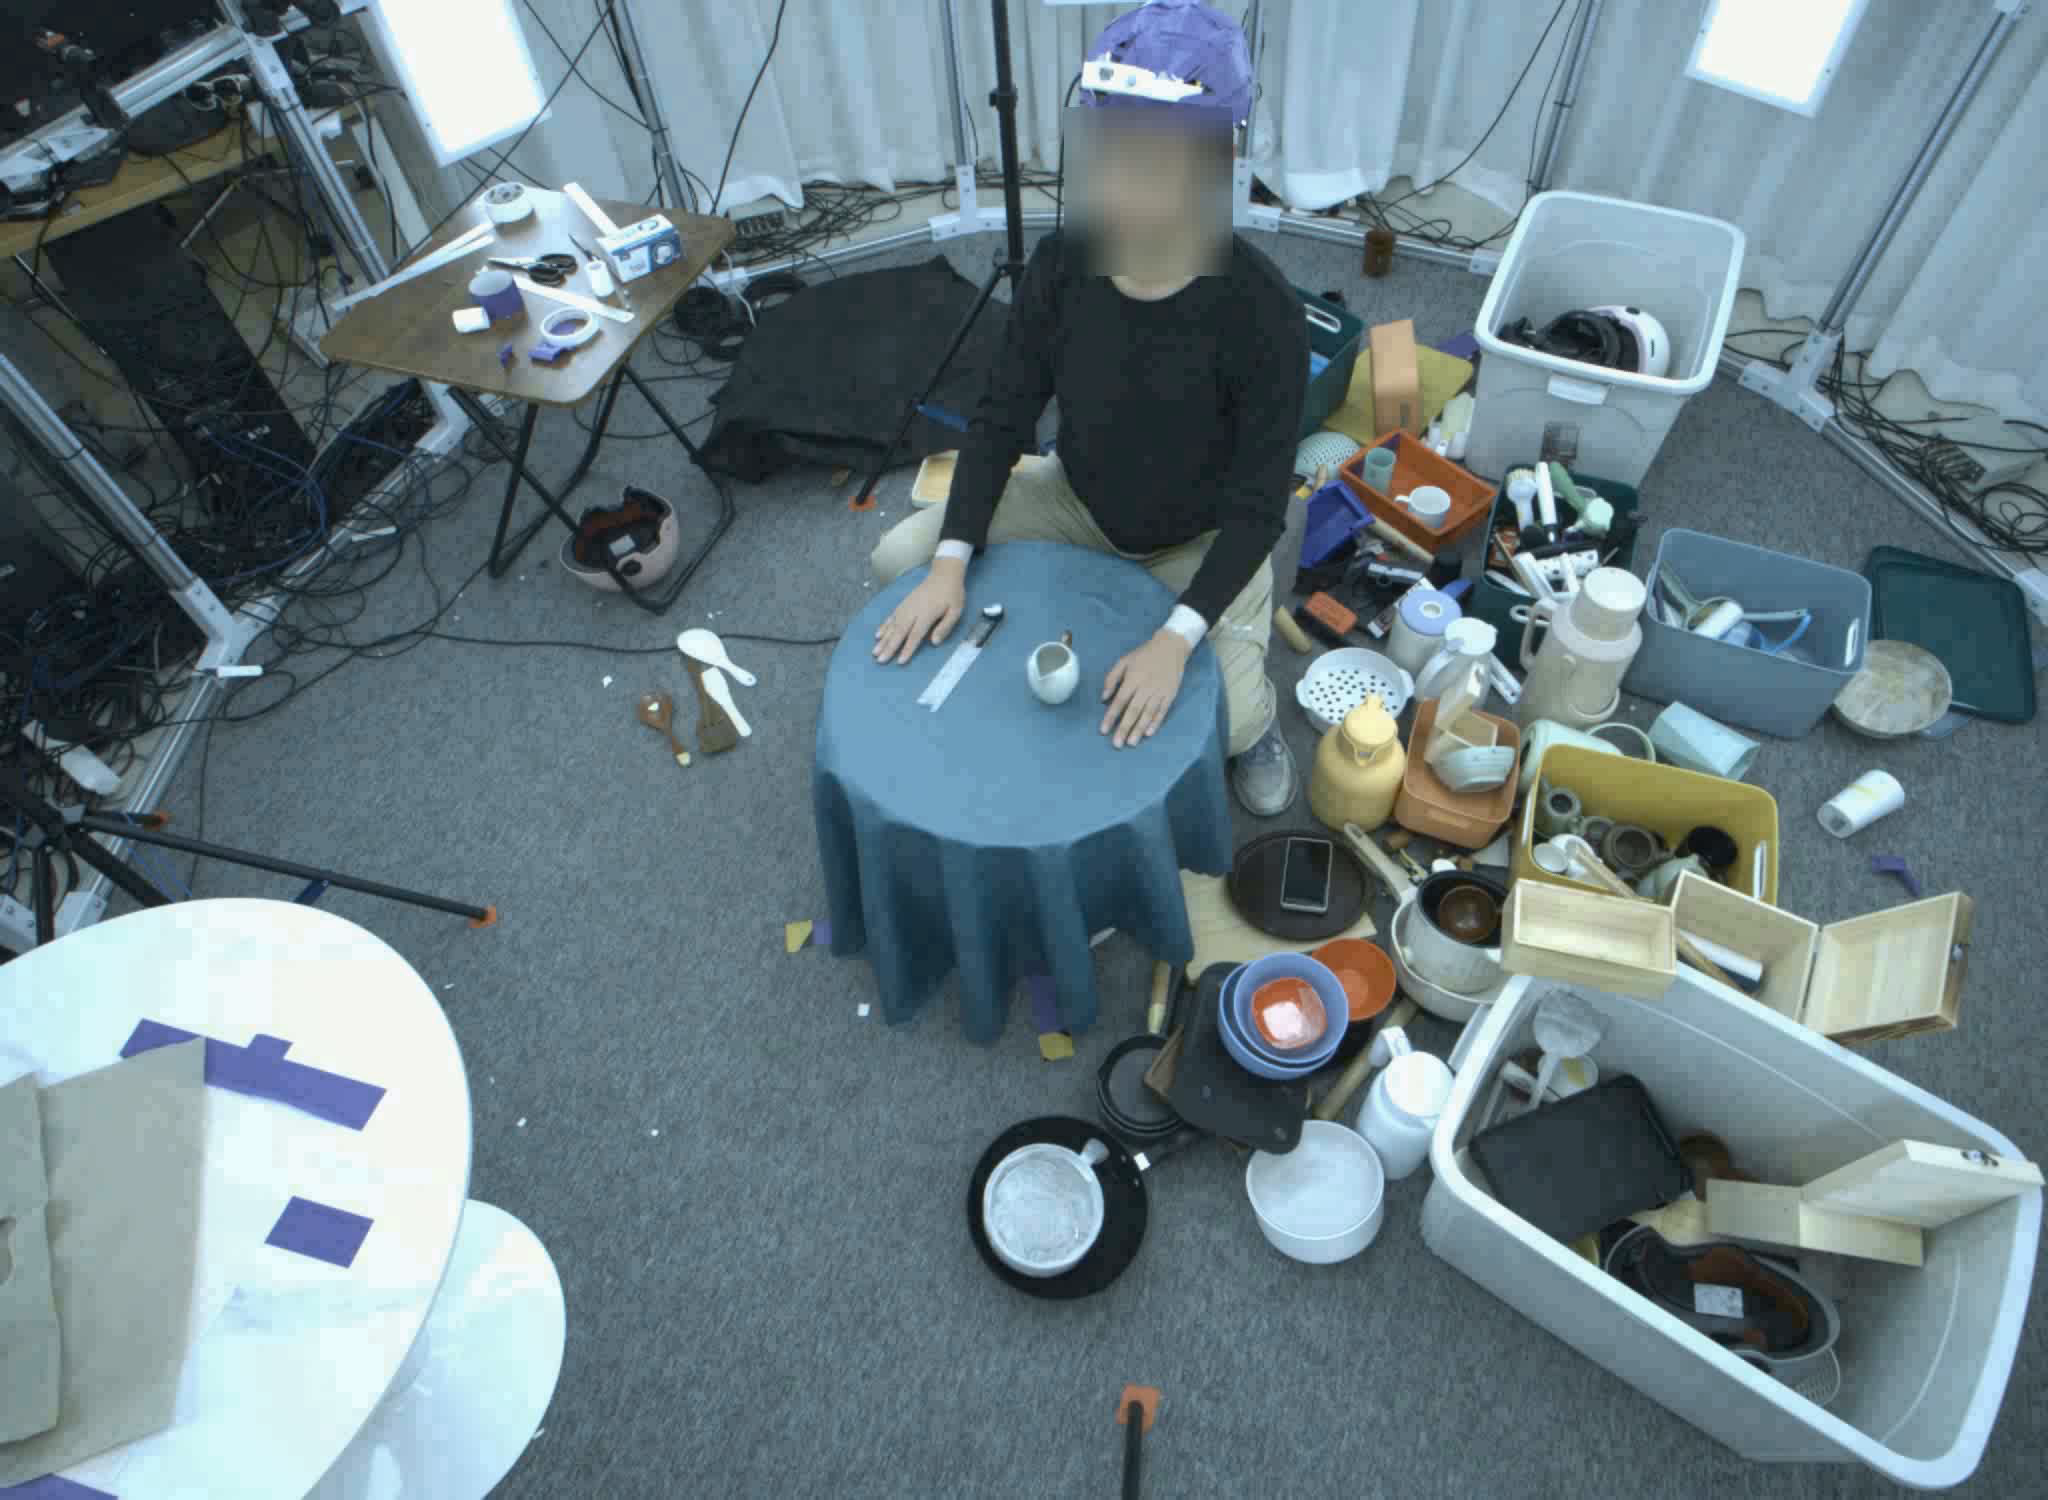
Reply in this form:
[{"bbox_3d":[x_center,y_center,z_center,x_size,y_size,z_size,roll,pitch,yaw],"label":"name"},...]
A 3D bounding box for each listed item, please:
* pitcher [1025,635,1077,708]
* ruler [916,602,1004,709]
[{"bbox_3d":[0.043,-0.111,1.811,0.075,0.088,0.119,23,61,14],"label":"pitcher"},{"bbox_3d":[-0.096,-0.149,1.882,0.037,0.024,0.219,20,56,24],"label":"ruler"}]
